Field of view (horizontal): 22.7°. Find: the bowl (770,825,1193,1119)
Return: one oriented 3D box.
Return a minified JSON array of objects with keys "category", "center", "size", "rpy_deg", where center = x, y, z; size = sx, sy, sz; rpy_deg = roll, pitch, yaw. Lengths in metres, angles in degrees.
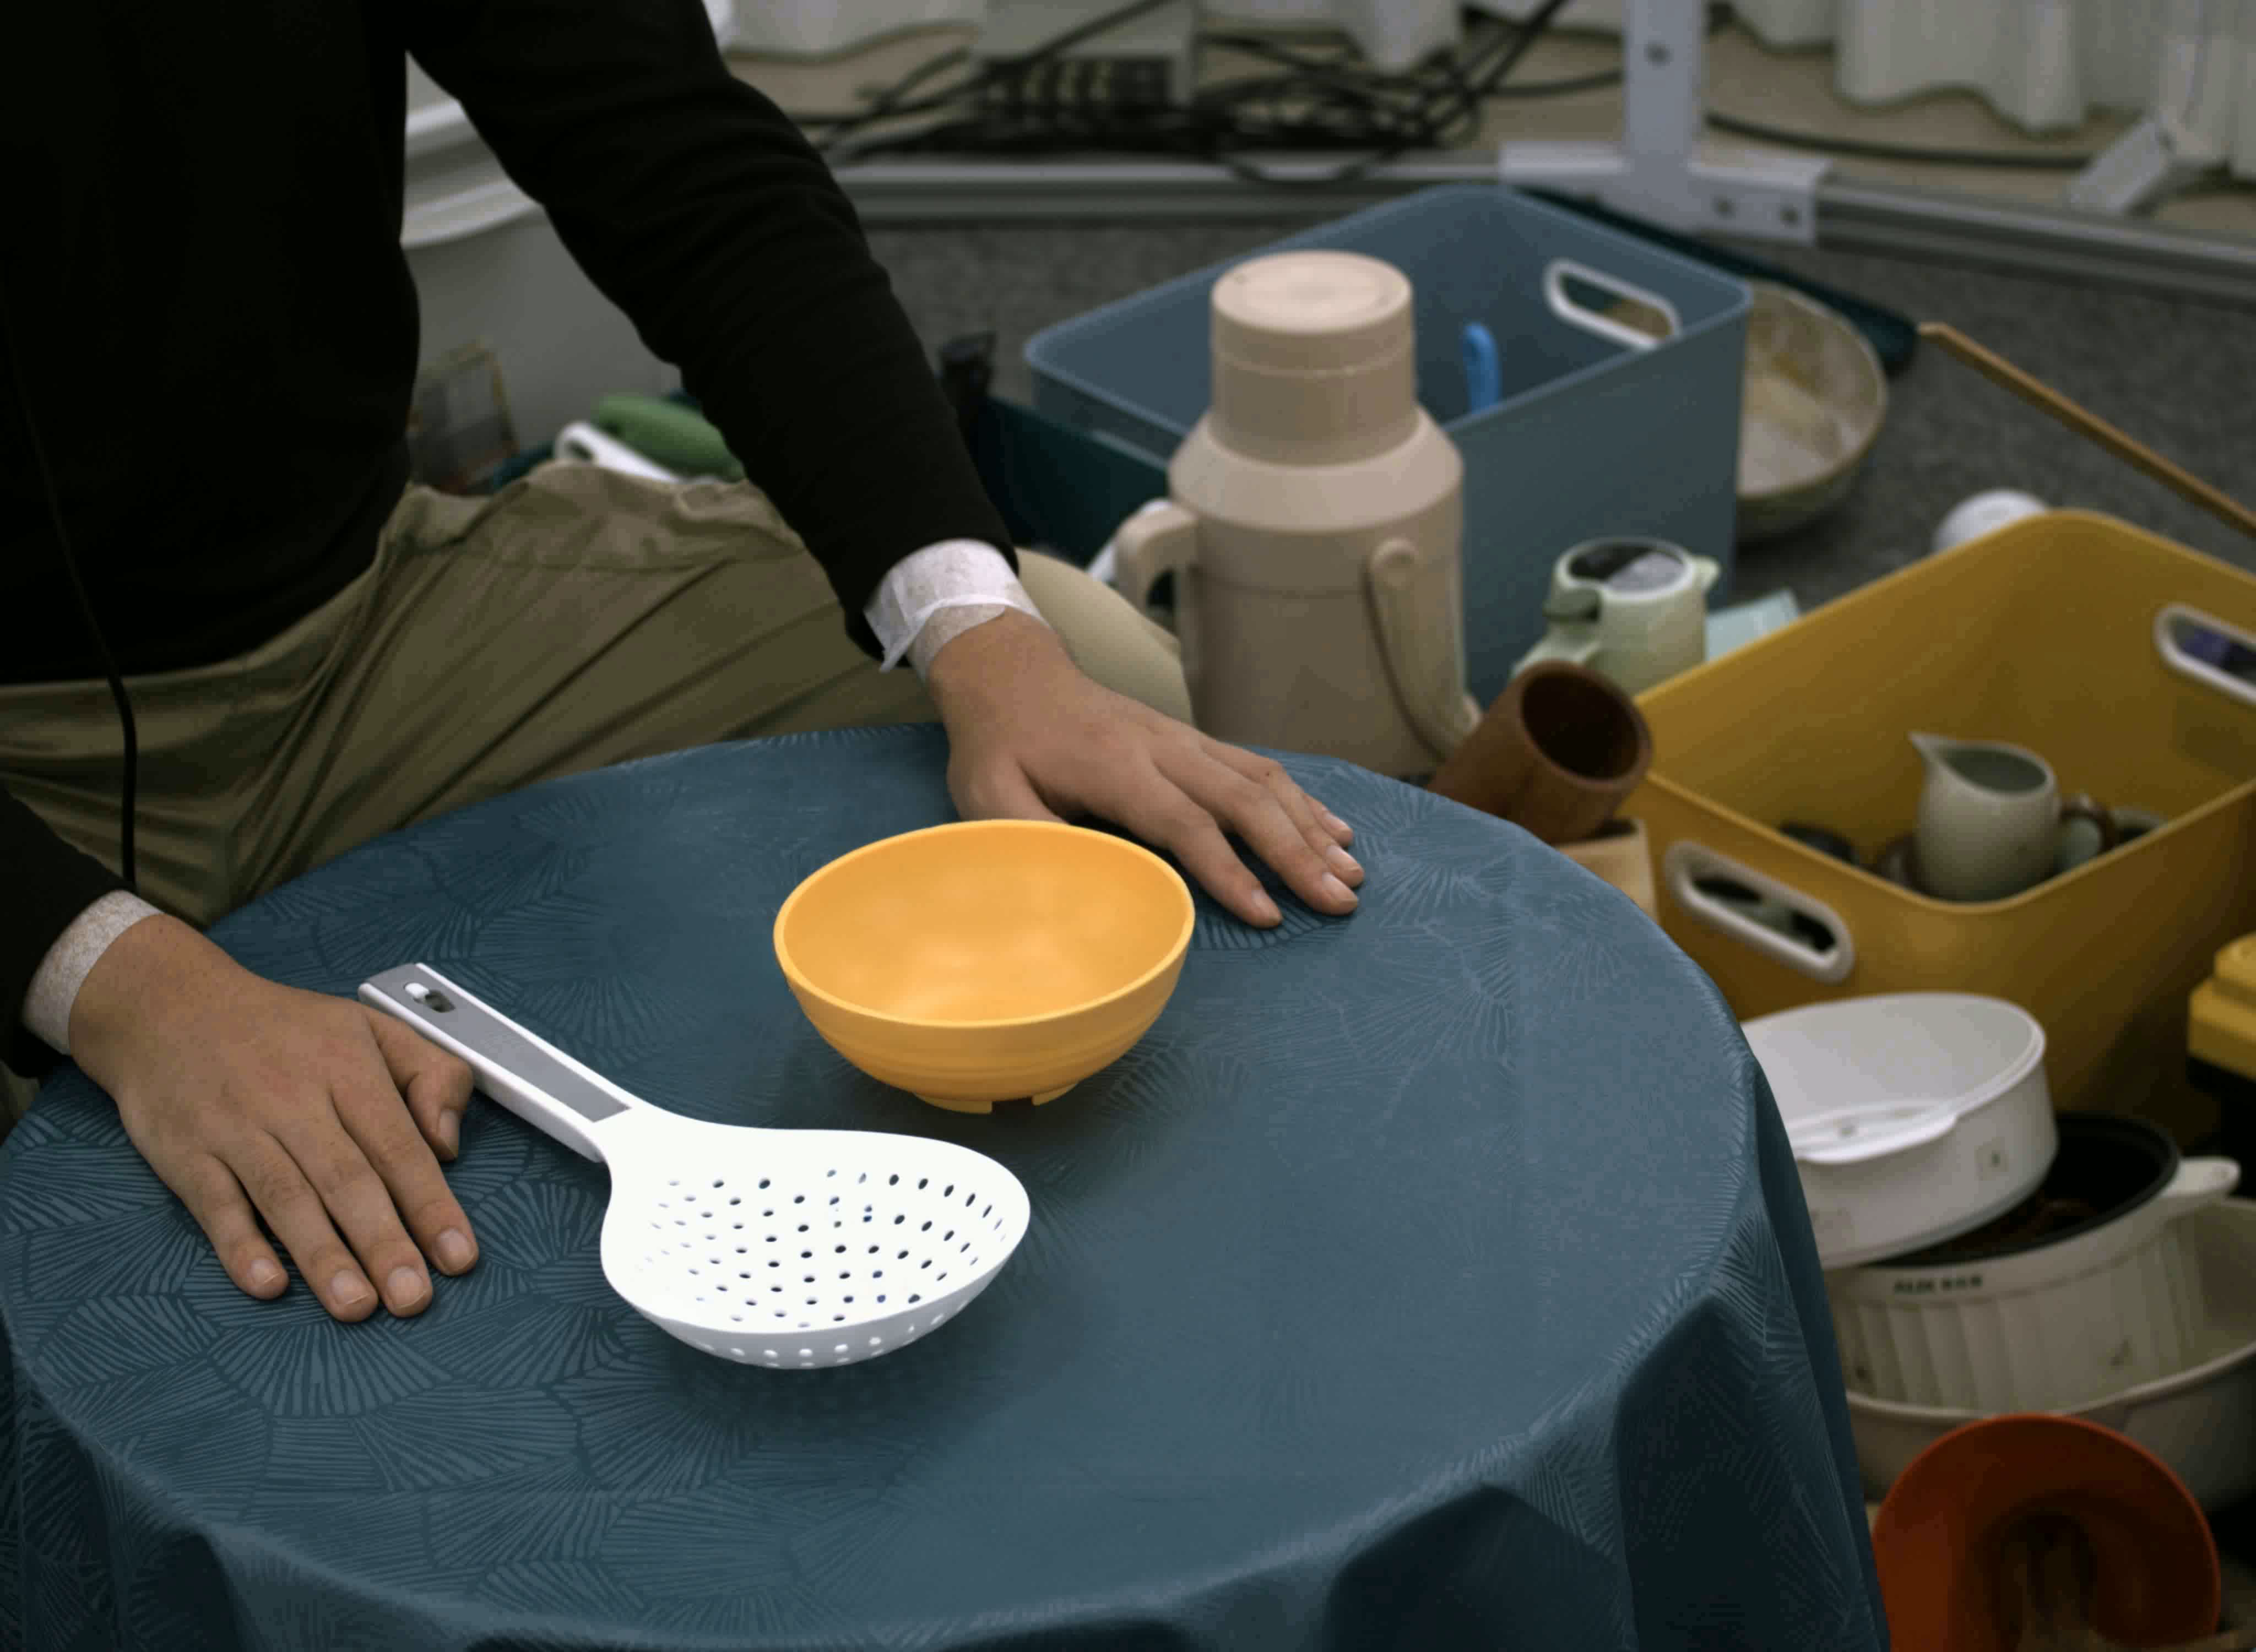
[{"category":"bowl","center":[-0.049,0.059,1.927],"size":[0.144,0.059,0.147],"rpy_deg":[-1,27,1]}]

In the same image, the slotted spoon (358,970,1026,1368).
[{"category":"slotted spoon","center":[-0.162,0.106,1.858],"size":[0.137,0.045,0.350],"rpy_deg":[-20,31,-31]}]
